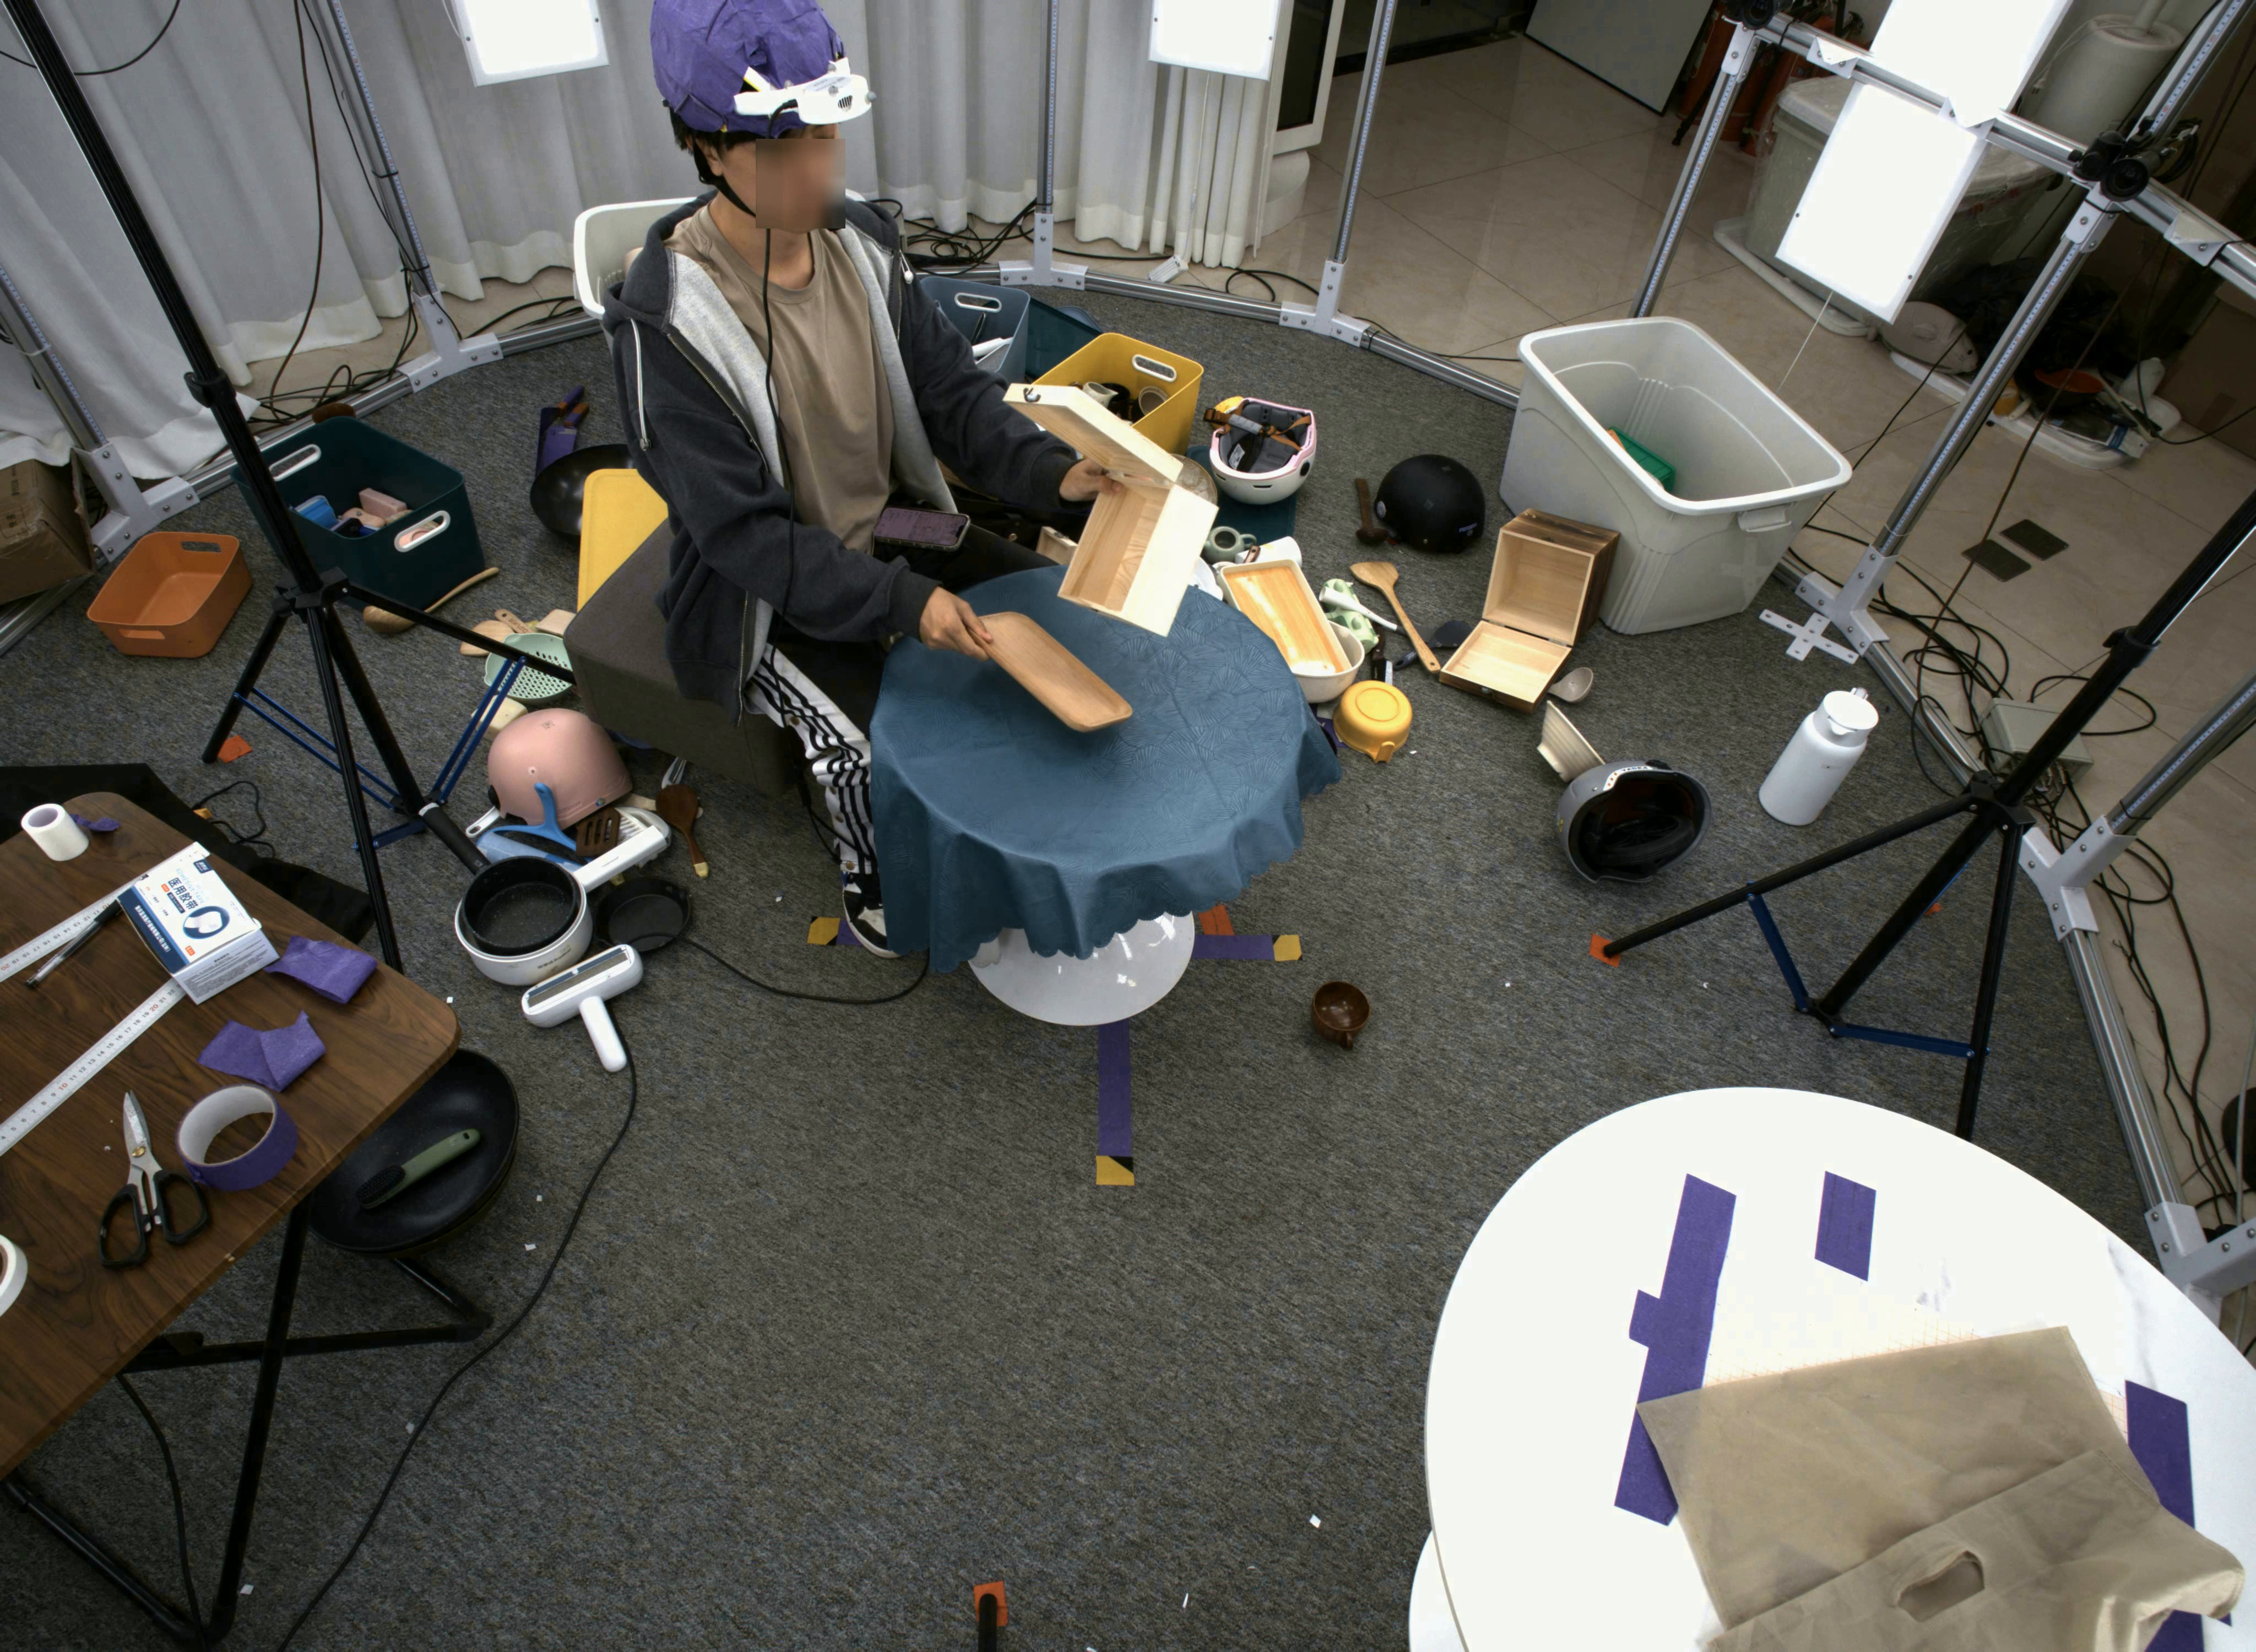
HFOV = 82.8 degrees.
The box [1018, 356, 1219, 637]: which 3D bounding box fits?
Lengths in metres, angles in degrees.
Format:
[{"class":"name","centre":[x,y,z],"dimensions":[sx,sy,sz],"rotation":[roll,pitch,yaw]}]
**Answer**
[{"class":"box","centre":[-0.043,-0.417,1.659],"dimensions":[0.250,0.264,0.184],"rotation":[21,4,-31]}]

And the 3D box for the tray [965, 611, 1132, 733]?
[{"class":"tray","centre":[-0.110,-0.214,1.762],"dimensions":[0.254,0.022,0.131],"rotation":[42,34,24]}]
